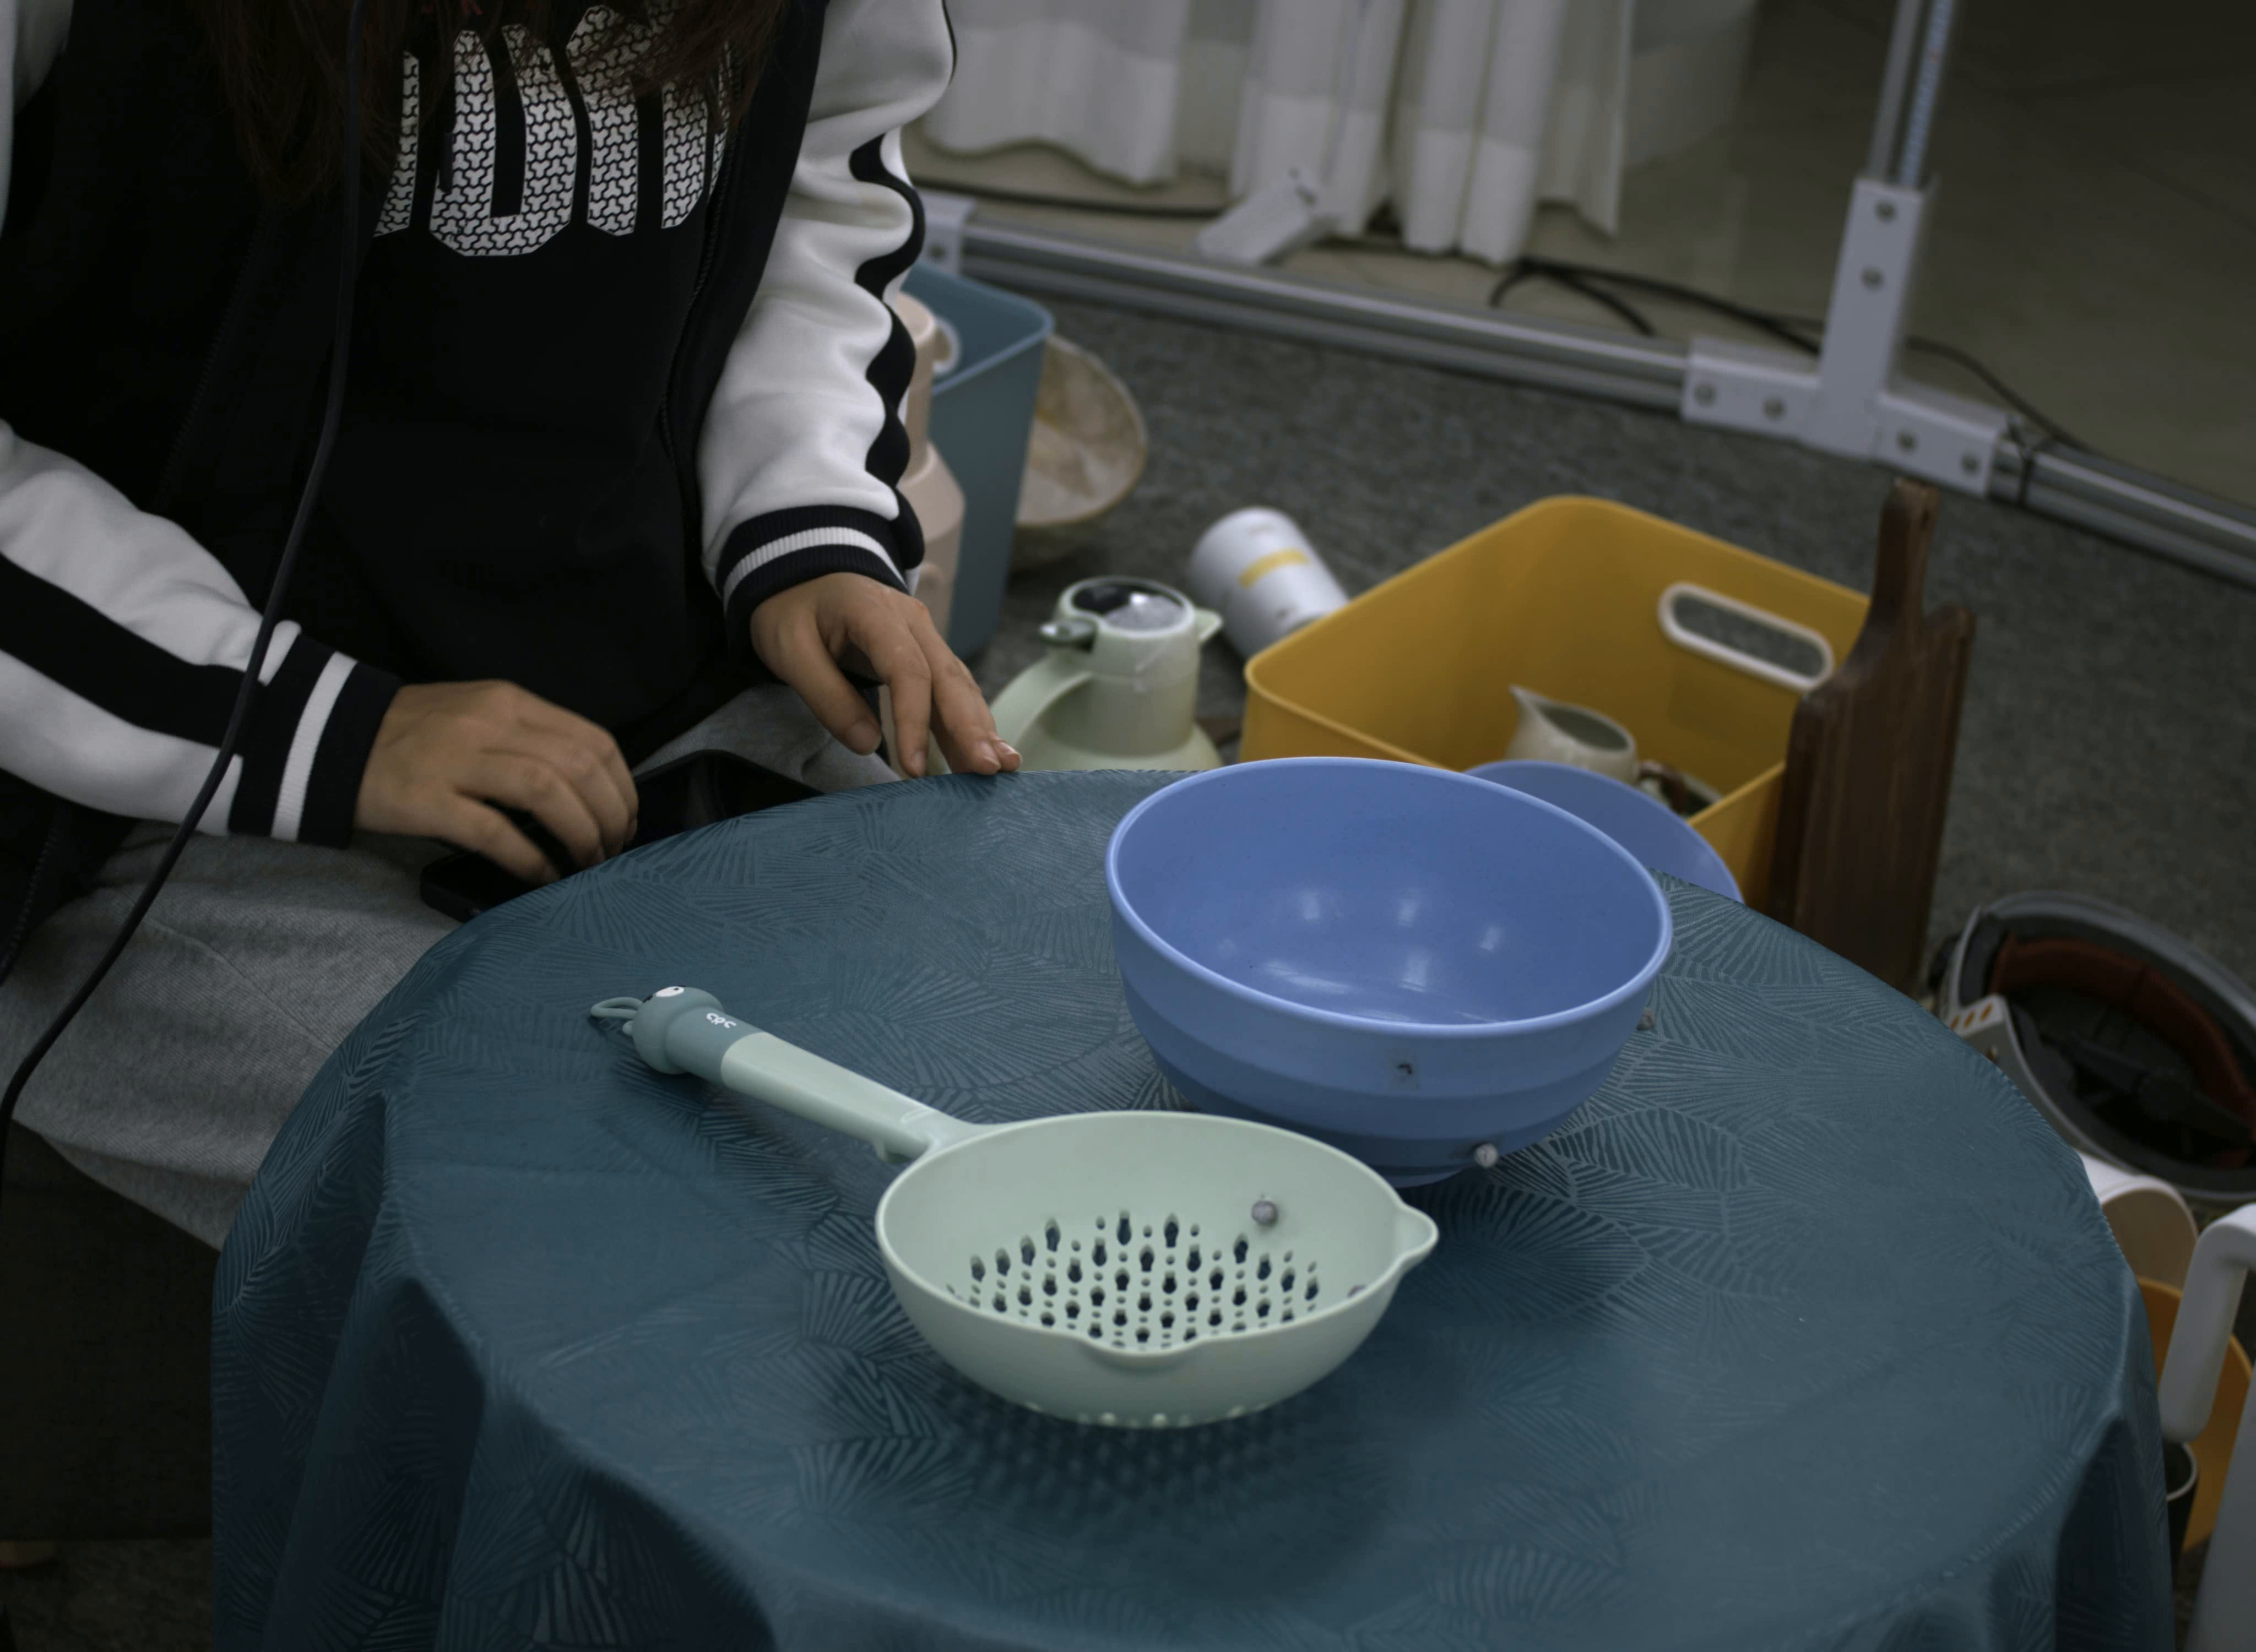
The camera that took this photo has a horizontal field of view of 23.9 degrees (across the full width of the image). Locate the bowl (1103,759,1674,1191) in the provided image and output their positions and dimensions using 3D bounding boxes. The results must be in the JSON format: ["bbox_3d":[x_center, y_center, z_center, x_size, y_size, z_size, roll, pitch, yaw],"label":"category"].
[{"bbox_3d":[0.084,0.062,1.838,0.196,0.095,0.197,5,27,-3],"label":"bowl"}]

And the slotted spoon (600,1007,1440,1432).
[{"bbox_3d":[-0.061,0.112,1.747,0.168,0.075,0.362,-16,33,-39],"label":"slotted spoon"}]
